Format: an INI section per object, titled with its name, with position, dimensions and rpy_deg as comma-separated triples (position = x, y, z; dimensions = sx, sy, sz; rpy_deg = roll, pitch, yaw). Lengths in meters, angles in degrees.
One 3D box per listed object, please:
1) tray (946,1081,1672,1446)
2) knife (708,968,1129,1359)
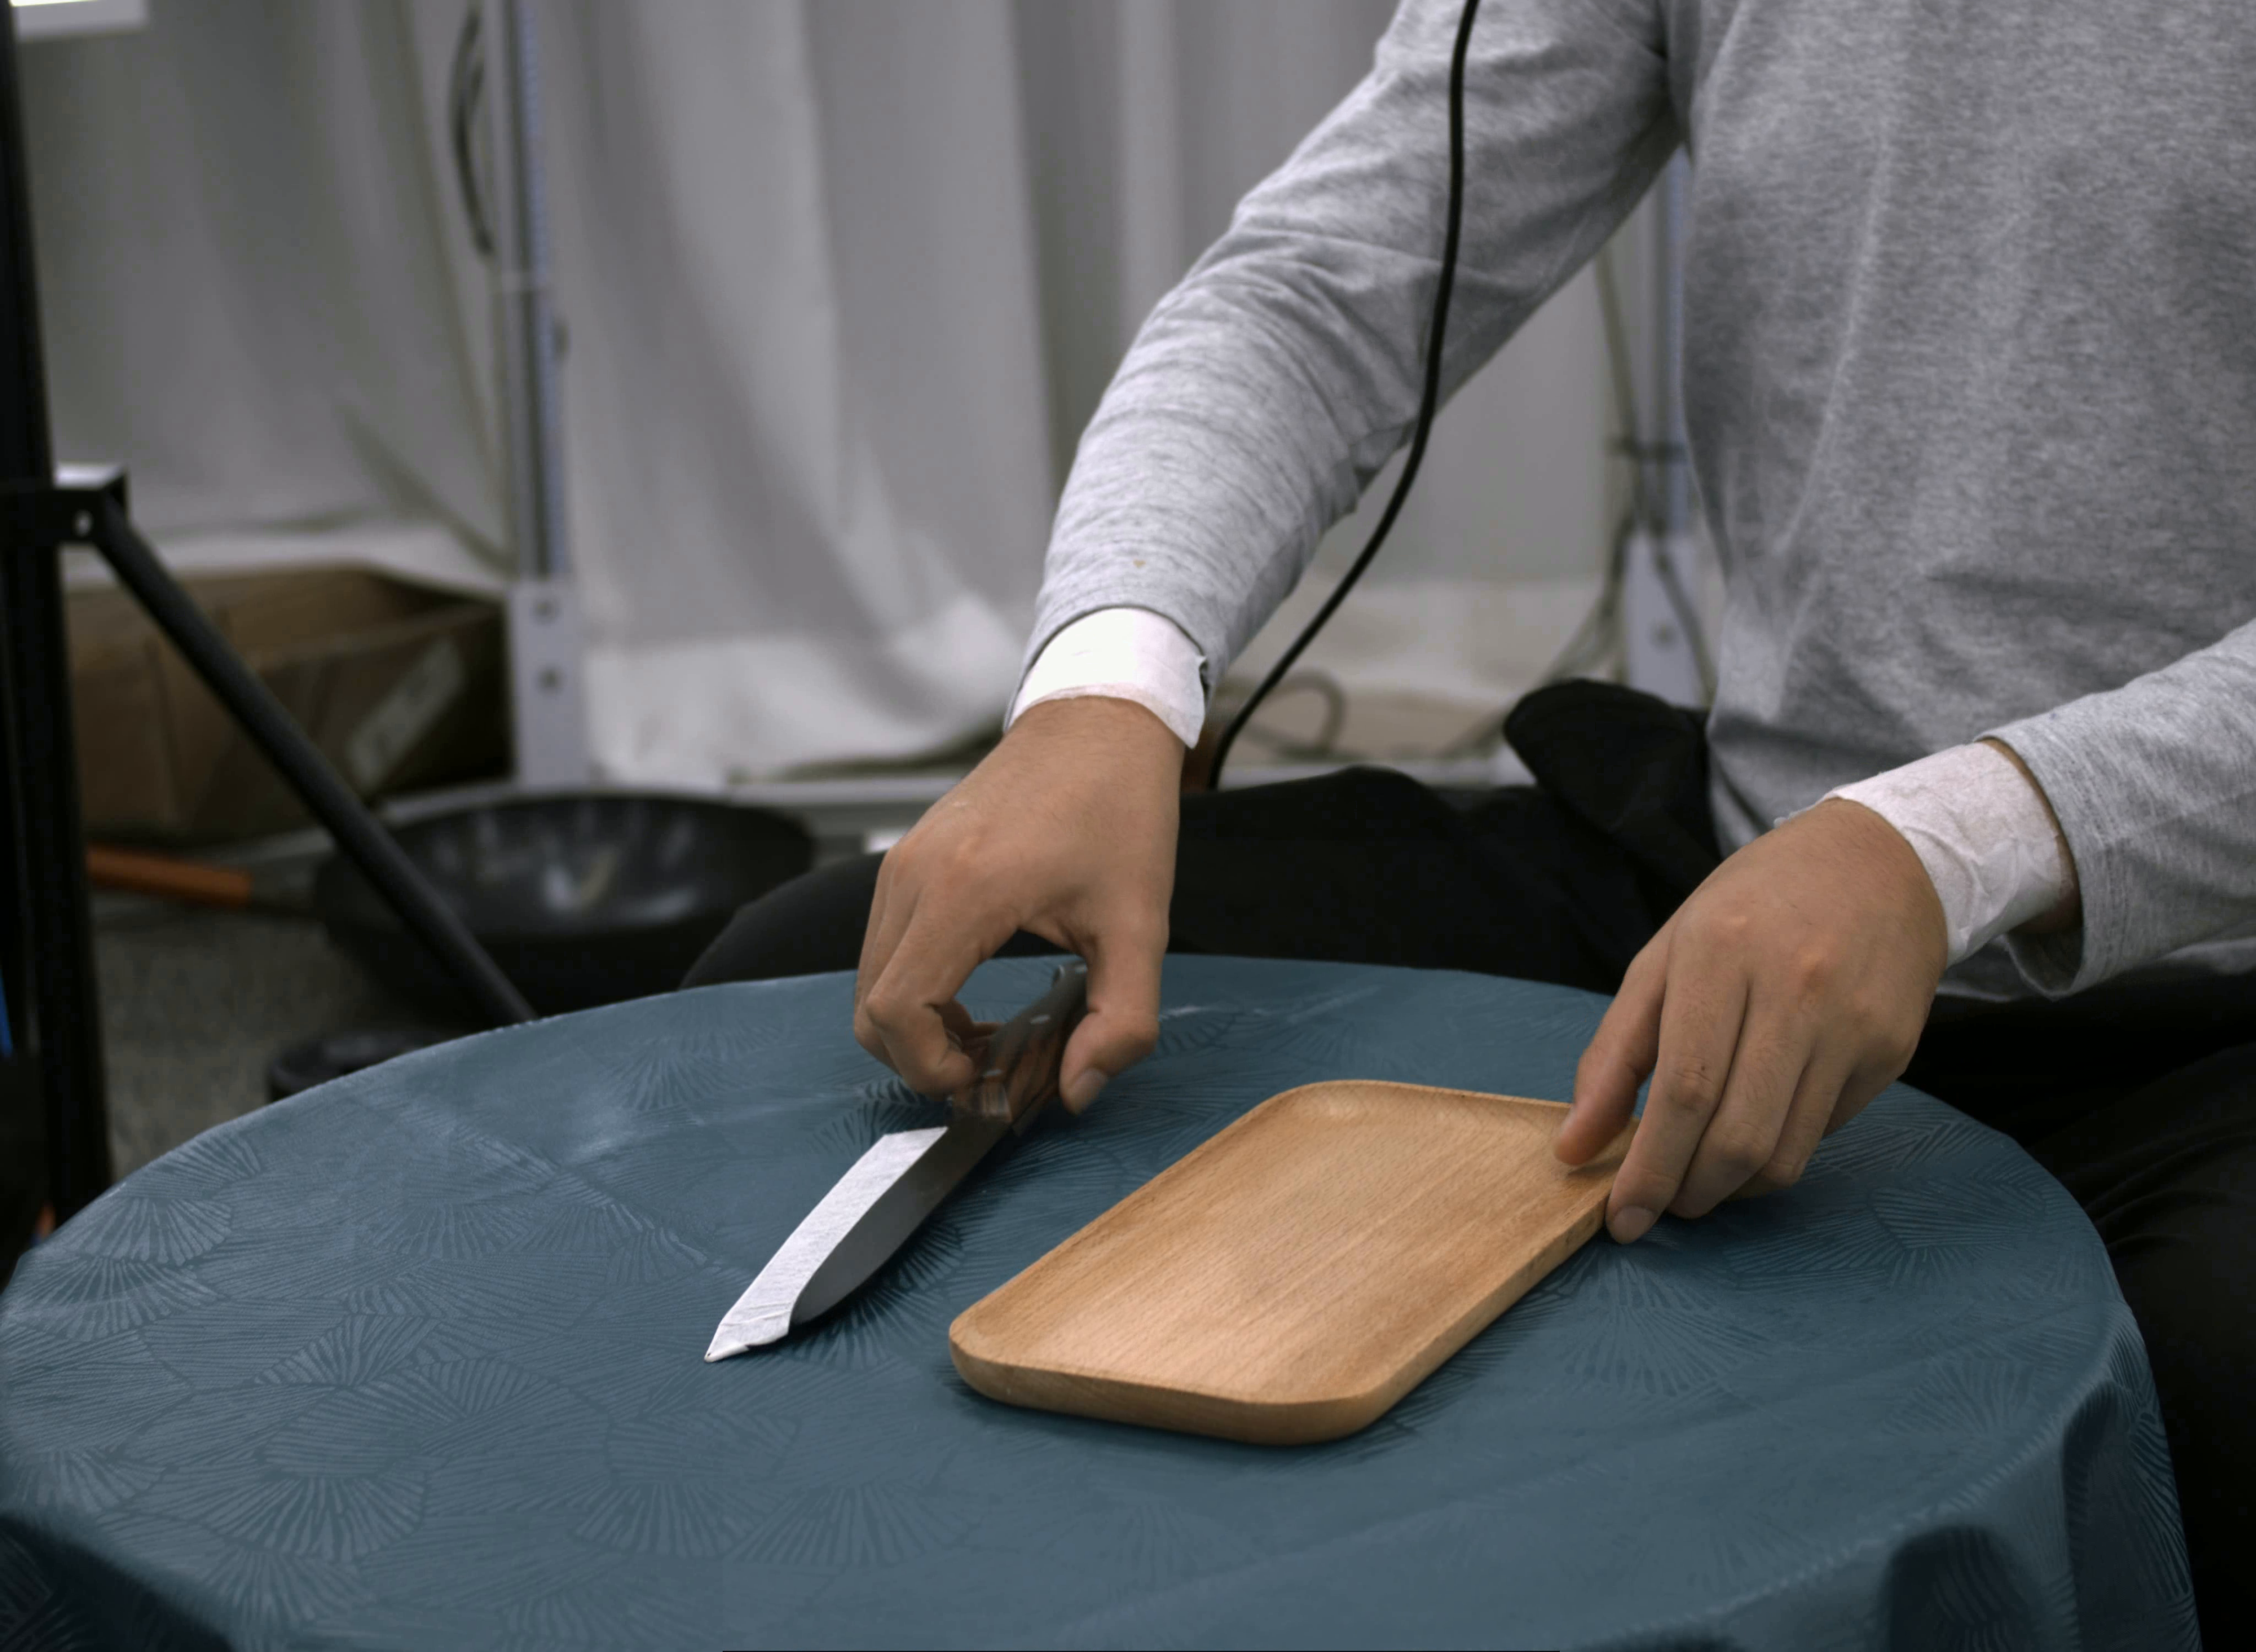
[tray]
position = 0.055, 0.119, 1.484
dimensions = 0.133, 0.023, 0.246
rpy_deg = 8, 18, 27
[knife]
position = -0.058, 0.099, 1.567
dimensions = 0.051, 0.020, 0.286
rpy_deg = -9, 15, 25
